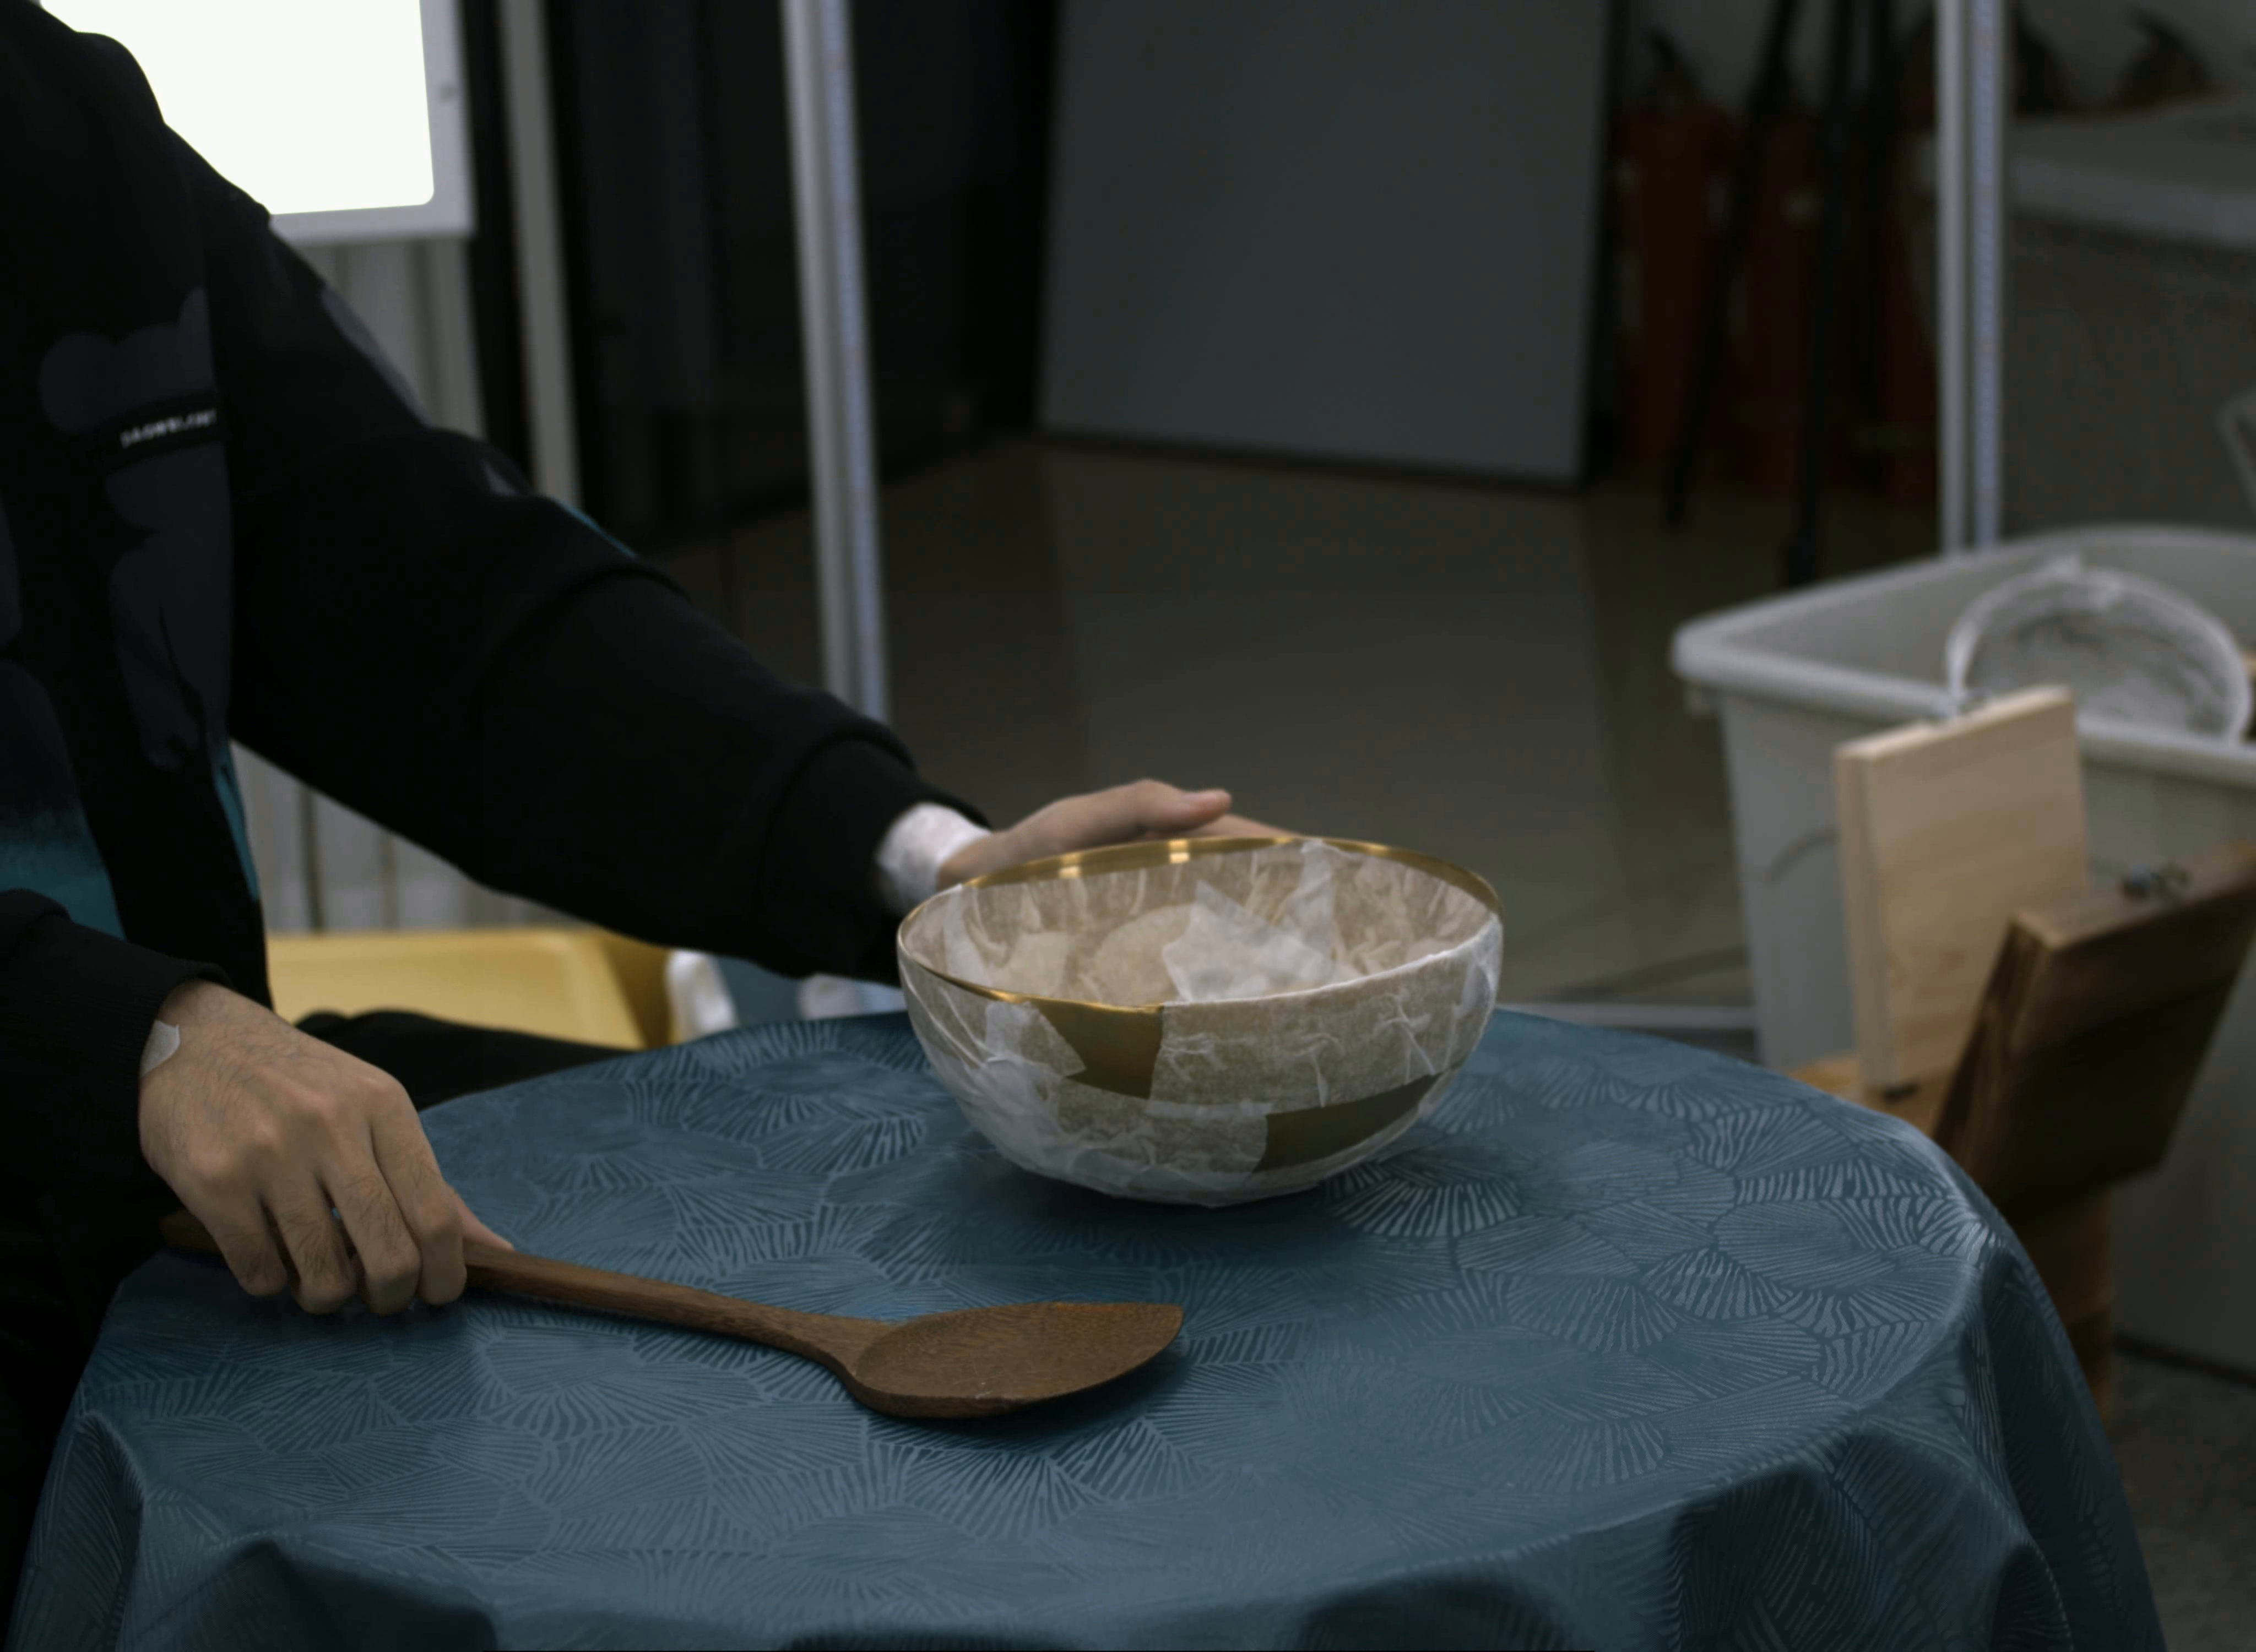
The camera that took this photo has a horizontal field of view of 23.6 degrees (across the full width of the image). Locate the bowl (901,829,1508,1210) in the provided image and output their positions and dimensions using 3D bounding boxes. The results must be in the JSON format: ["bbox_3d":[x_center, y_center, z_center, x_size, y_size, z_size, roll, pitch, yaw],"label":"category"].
[{"bbox_3d":[0.026,0.070,1.774,0.212,0.095,0.215,-6,14,1],"label":"bowl"}]

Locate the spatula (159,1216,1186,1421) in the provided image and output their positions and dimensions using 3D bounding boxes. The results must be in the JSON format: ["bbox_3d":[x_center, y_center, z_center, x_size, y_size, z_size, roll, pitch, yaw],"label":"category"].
[{"bbox_3d":[-0.156,0.148,1.680,0.388,0.016,0.094,5,16,34],"label":"spatula"}]
